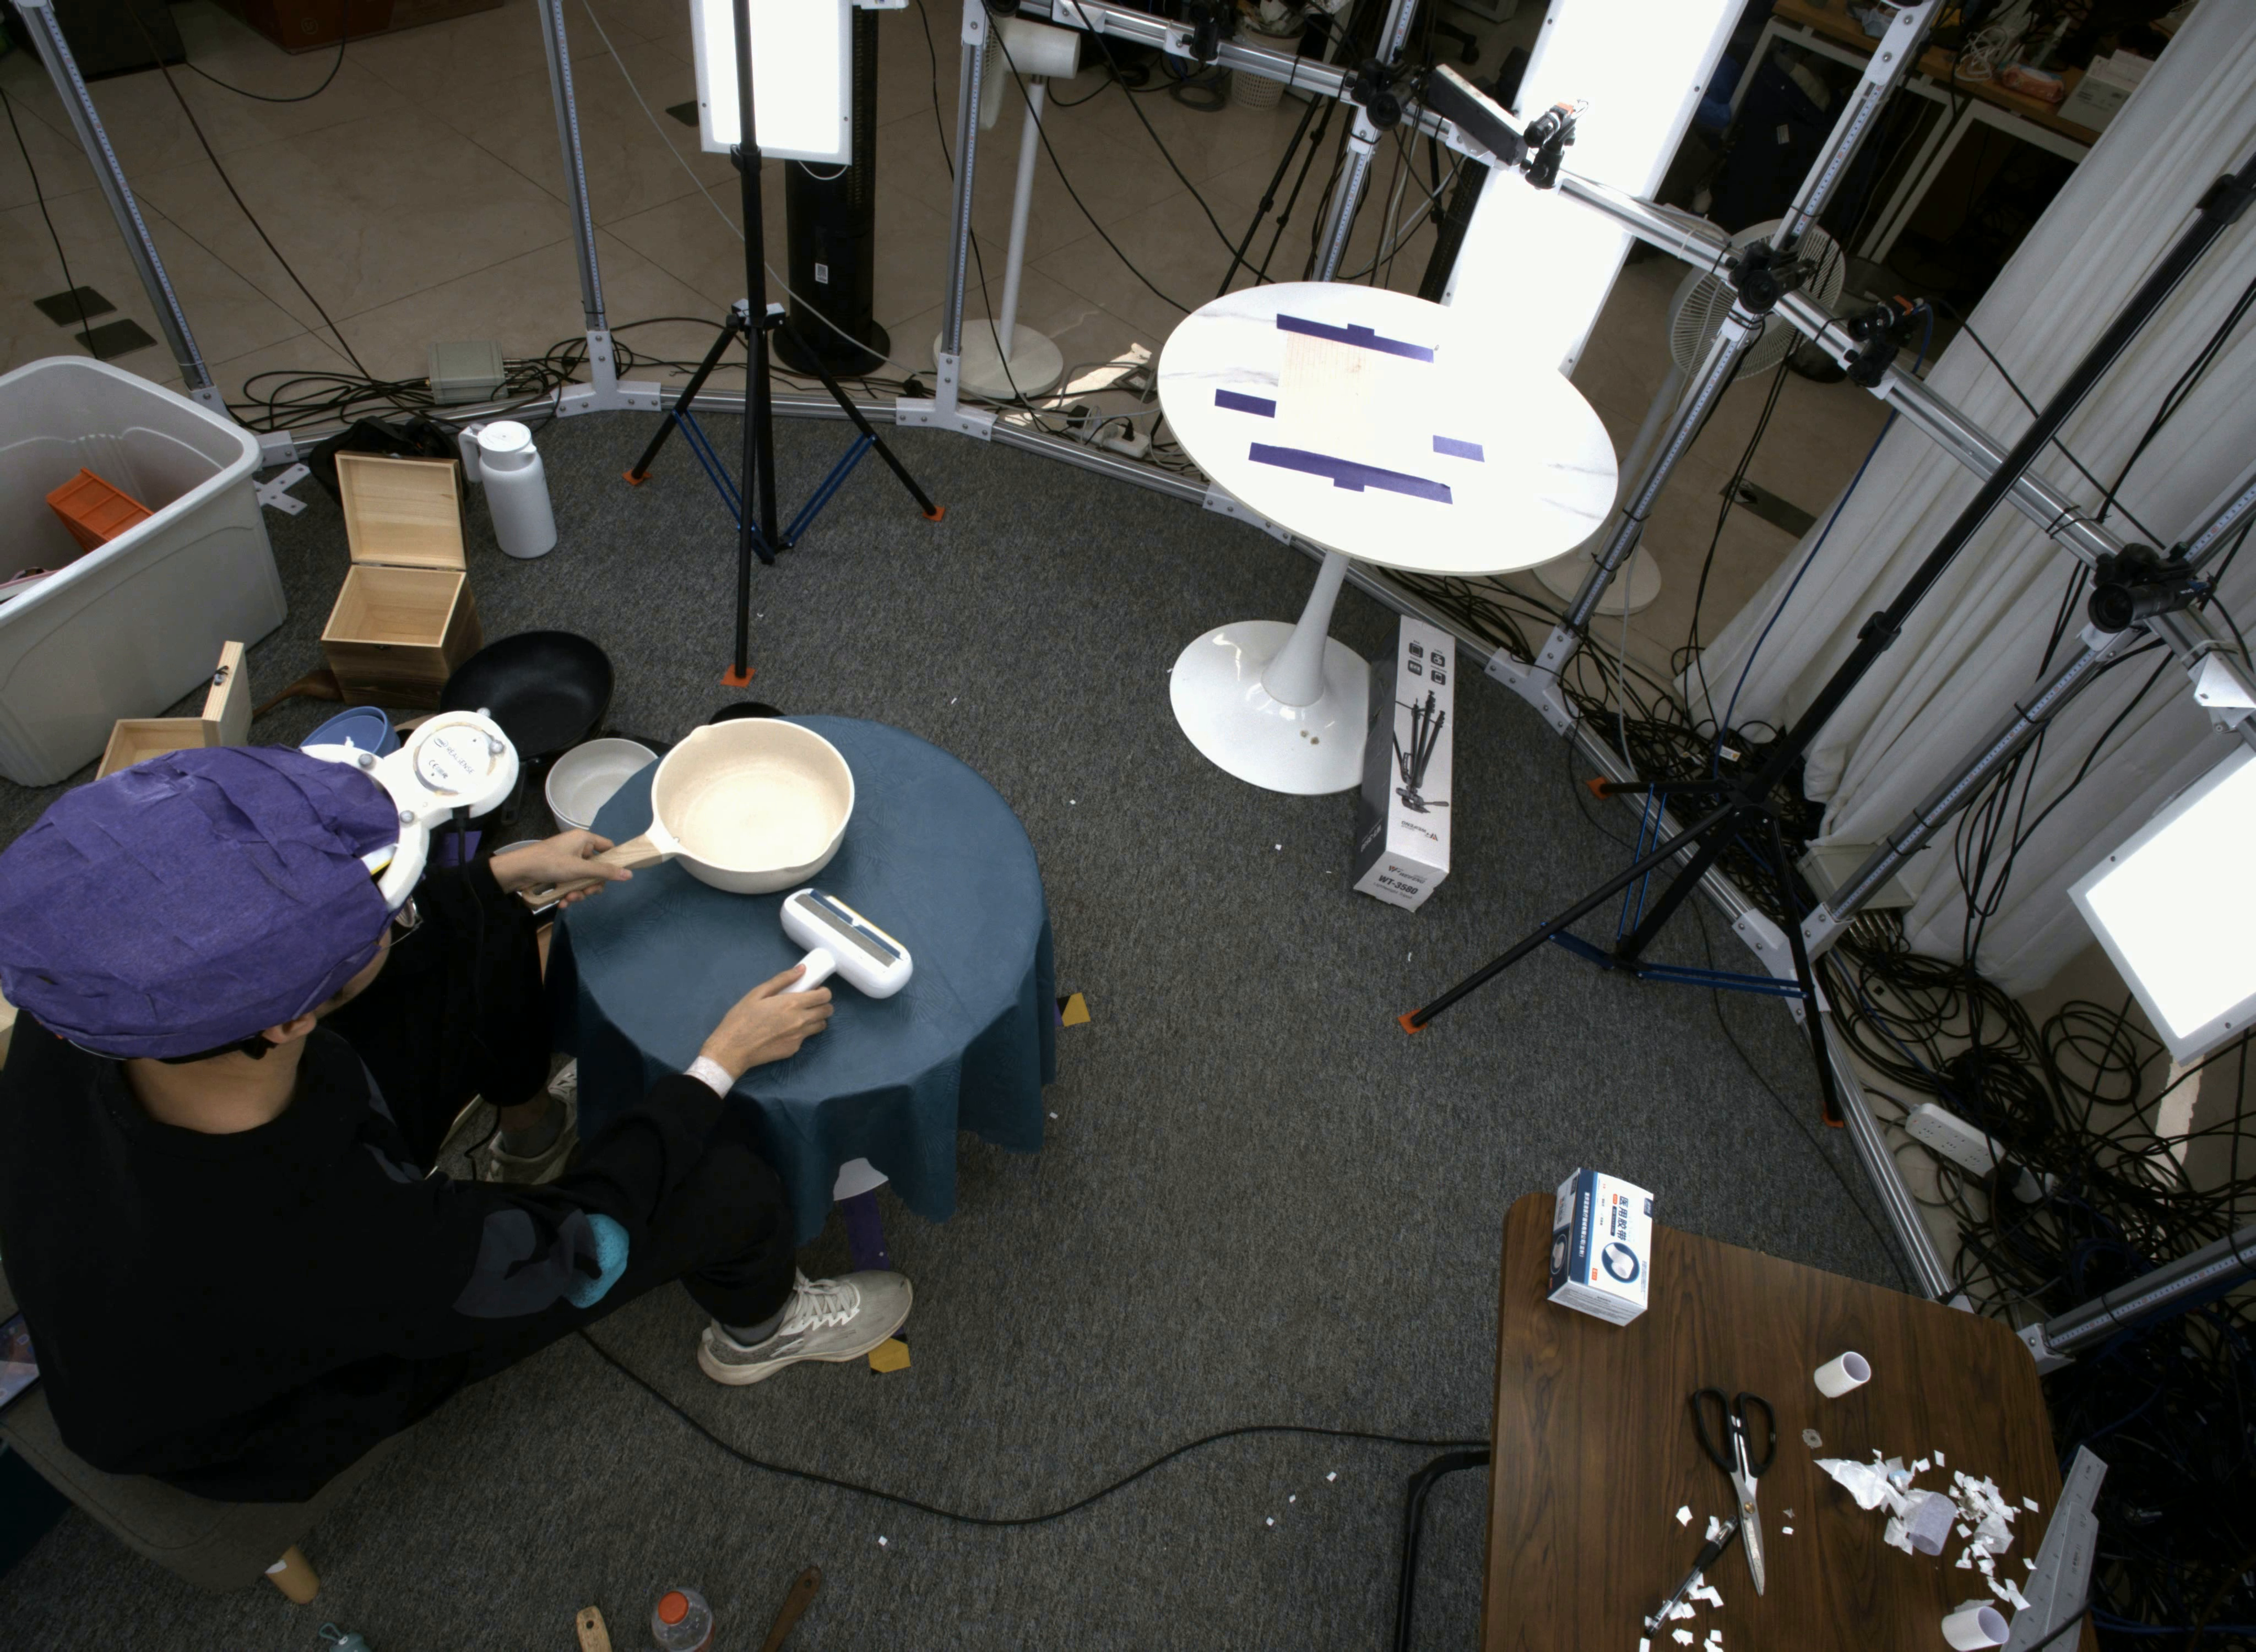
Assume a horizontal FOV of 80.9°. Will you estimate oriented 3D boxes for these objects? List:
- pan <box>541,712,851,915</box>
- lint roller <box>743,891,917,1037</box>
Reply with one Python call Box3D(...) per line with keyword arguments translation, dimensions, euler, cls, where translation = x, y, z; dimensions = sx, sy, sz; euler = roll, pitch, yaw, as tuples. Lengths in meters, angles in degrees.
Box3D(translation=(-0.551, 0.014, 1.622), dimensions=(0.436, 0.104, 0.258), euler=(-33, 70, -32), cls="pan")
Box3D(translation=(-0.380, 0.176, 1.561), dimensions=(0.188, 0.076, 0.193), euler=(37, 49, 21), cls="lint roller")
